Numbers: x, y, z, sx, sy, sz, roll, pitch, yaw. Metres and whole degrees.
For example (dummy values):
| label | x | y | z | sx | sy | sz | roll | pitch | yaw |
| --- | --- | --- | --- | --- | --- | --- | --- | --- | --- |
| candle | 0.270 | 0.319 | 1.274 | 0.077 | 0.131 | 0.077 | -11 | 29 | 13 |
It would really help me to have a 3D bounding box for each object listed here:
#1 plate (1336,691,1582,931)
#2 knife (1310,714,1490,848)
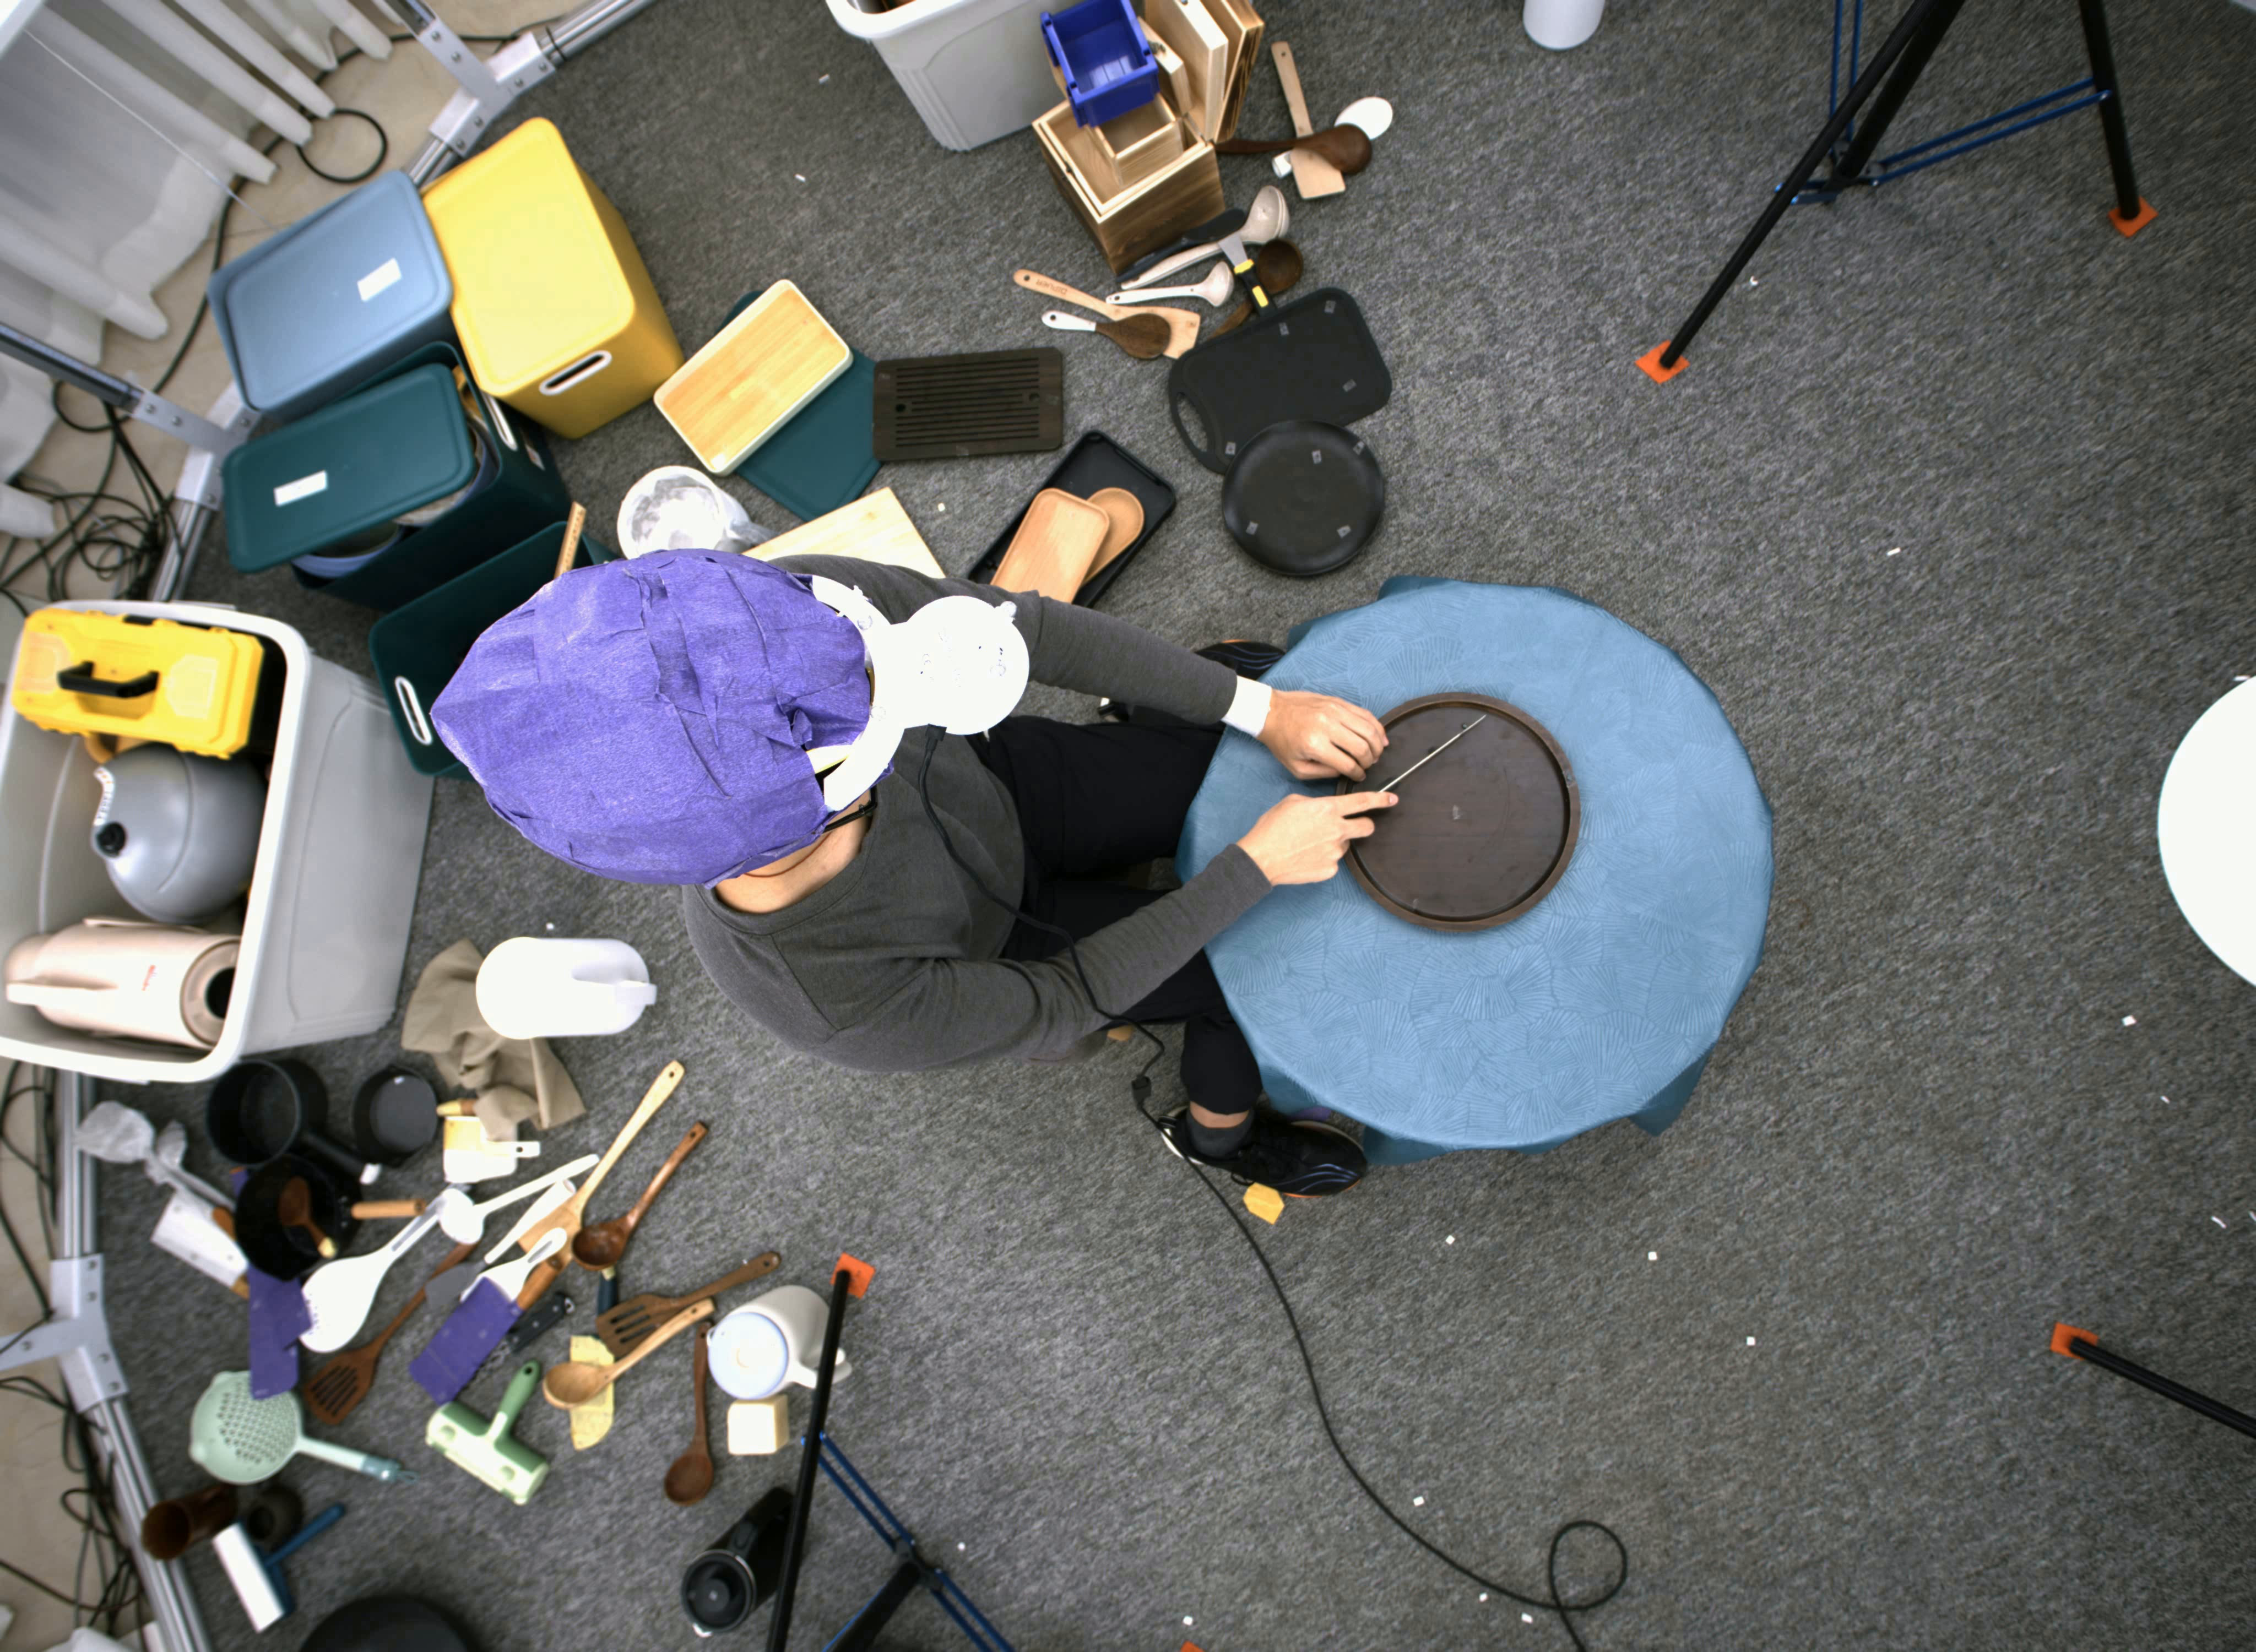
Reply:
| label | x | y | z | sx | sy | sz | roll | pitch | yaw |
| --- | --- | --- | --- | --- | --- | --- | --- | --- | --- |
| plate | 0.344 | -0.018 | 1.440 | 0.256 | 0.029 | 0.253 | -1 | 86 | 10 |
| knife | 0.284 | -0.052 | 1.425 | 0.237 | 0.025 | 0.016 | -36 | 75 | -6 |
